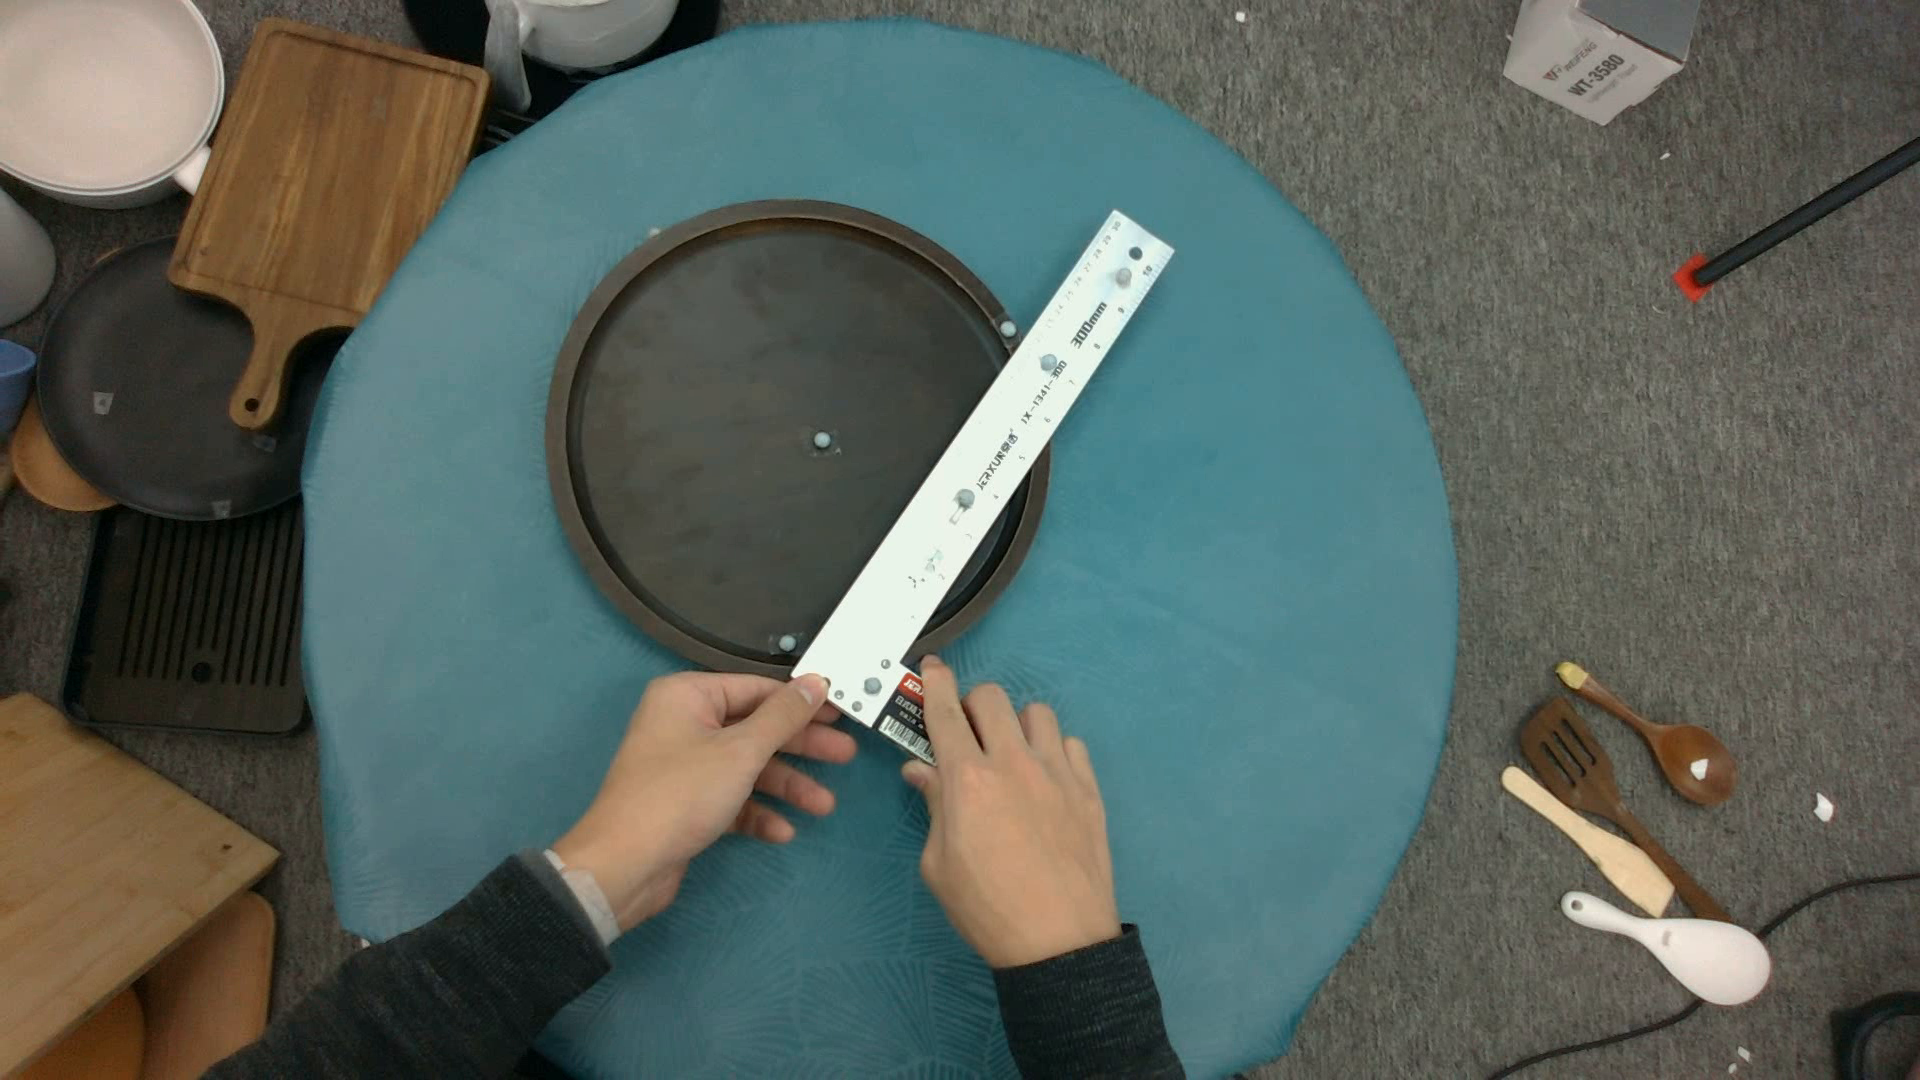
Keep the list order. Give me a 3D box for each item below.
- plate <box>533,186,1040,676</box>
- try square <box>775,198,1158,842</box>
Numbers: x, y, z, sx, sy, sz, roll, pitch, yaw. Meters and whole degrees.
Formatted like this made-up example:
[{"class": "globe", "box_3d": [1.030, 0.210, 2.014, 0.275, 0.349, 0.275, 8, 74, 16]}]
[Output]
[{"class": "plate", "box_3d": [-0.083, -0.057, 0.695, 0.255, 0.029, 0.255, 3, 78, -13]}, {"class": "try square", "box_3d": [0.054, -0.019, 0.704, 0.152, 0.016, 0.314, 34, 73, -2]}]
